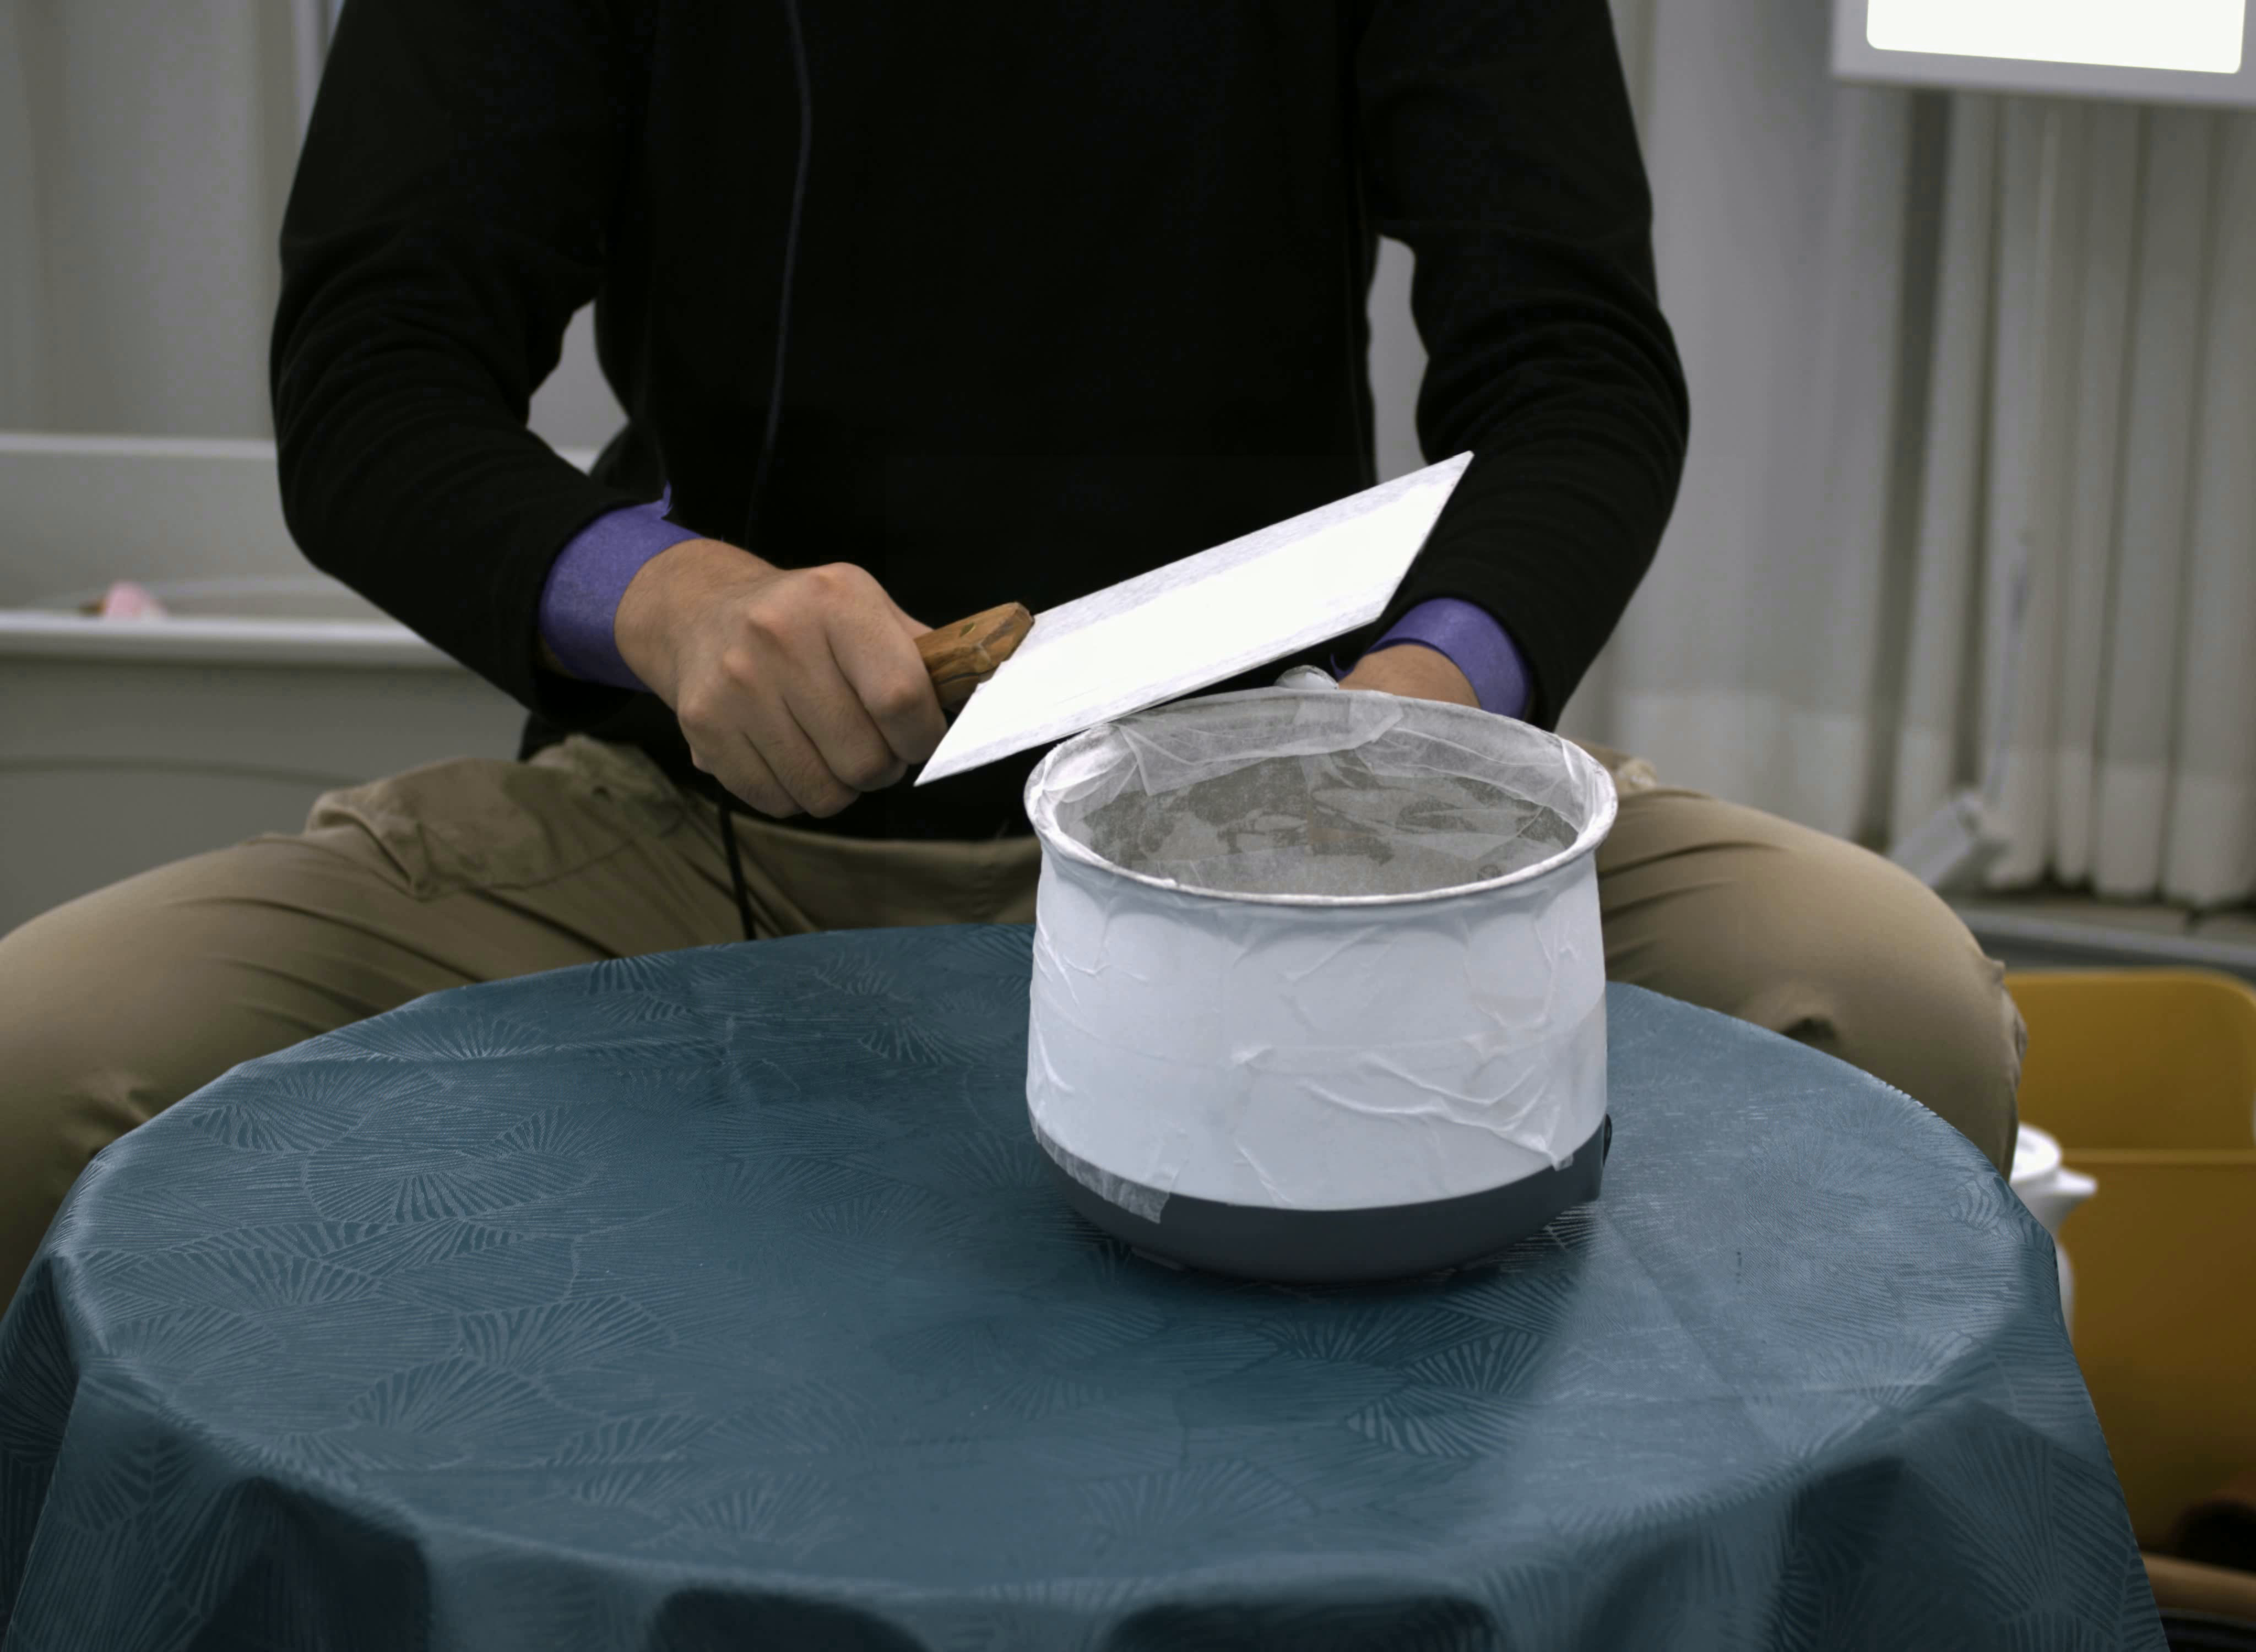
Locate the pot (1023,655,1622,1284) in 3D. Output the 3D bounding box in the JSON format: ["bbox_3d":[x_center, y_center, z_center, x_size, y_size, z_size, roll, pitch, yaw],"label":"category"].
[{"bbox_3d":[0.056,0.037,1.606,0.178,0.138,0.232,0,22,-3],"label":"pot"}]

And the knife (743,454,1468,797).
[{"bbox_3d":[-0.021,-0.050,1.674,0.303,0.021,0.092,-20,24,38],"label":"knife"}]
